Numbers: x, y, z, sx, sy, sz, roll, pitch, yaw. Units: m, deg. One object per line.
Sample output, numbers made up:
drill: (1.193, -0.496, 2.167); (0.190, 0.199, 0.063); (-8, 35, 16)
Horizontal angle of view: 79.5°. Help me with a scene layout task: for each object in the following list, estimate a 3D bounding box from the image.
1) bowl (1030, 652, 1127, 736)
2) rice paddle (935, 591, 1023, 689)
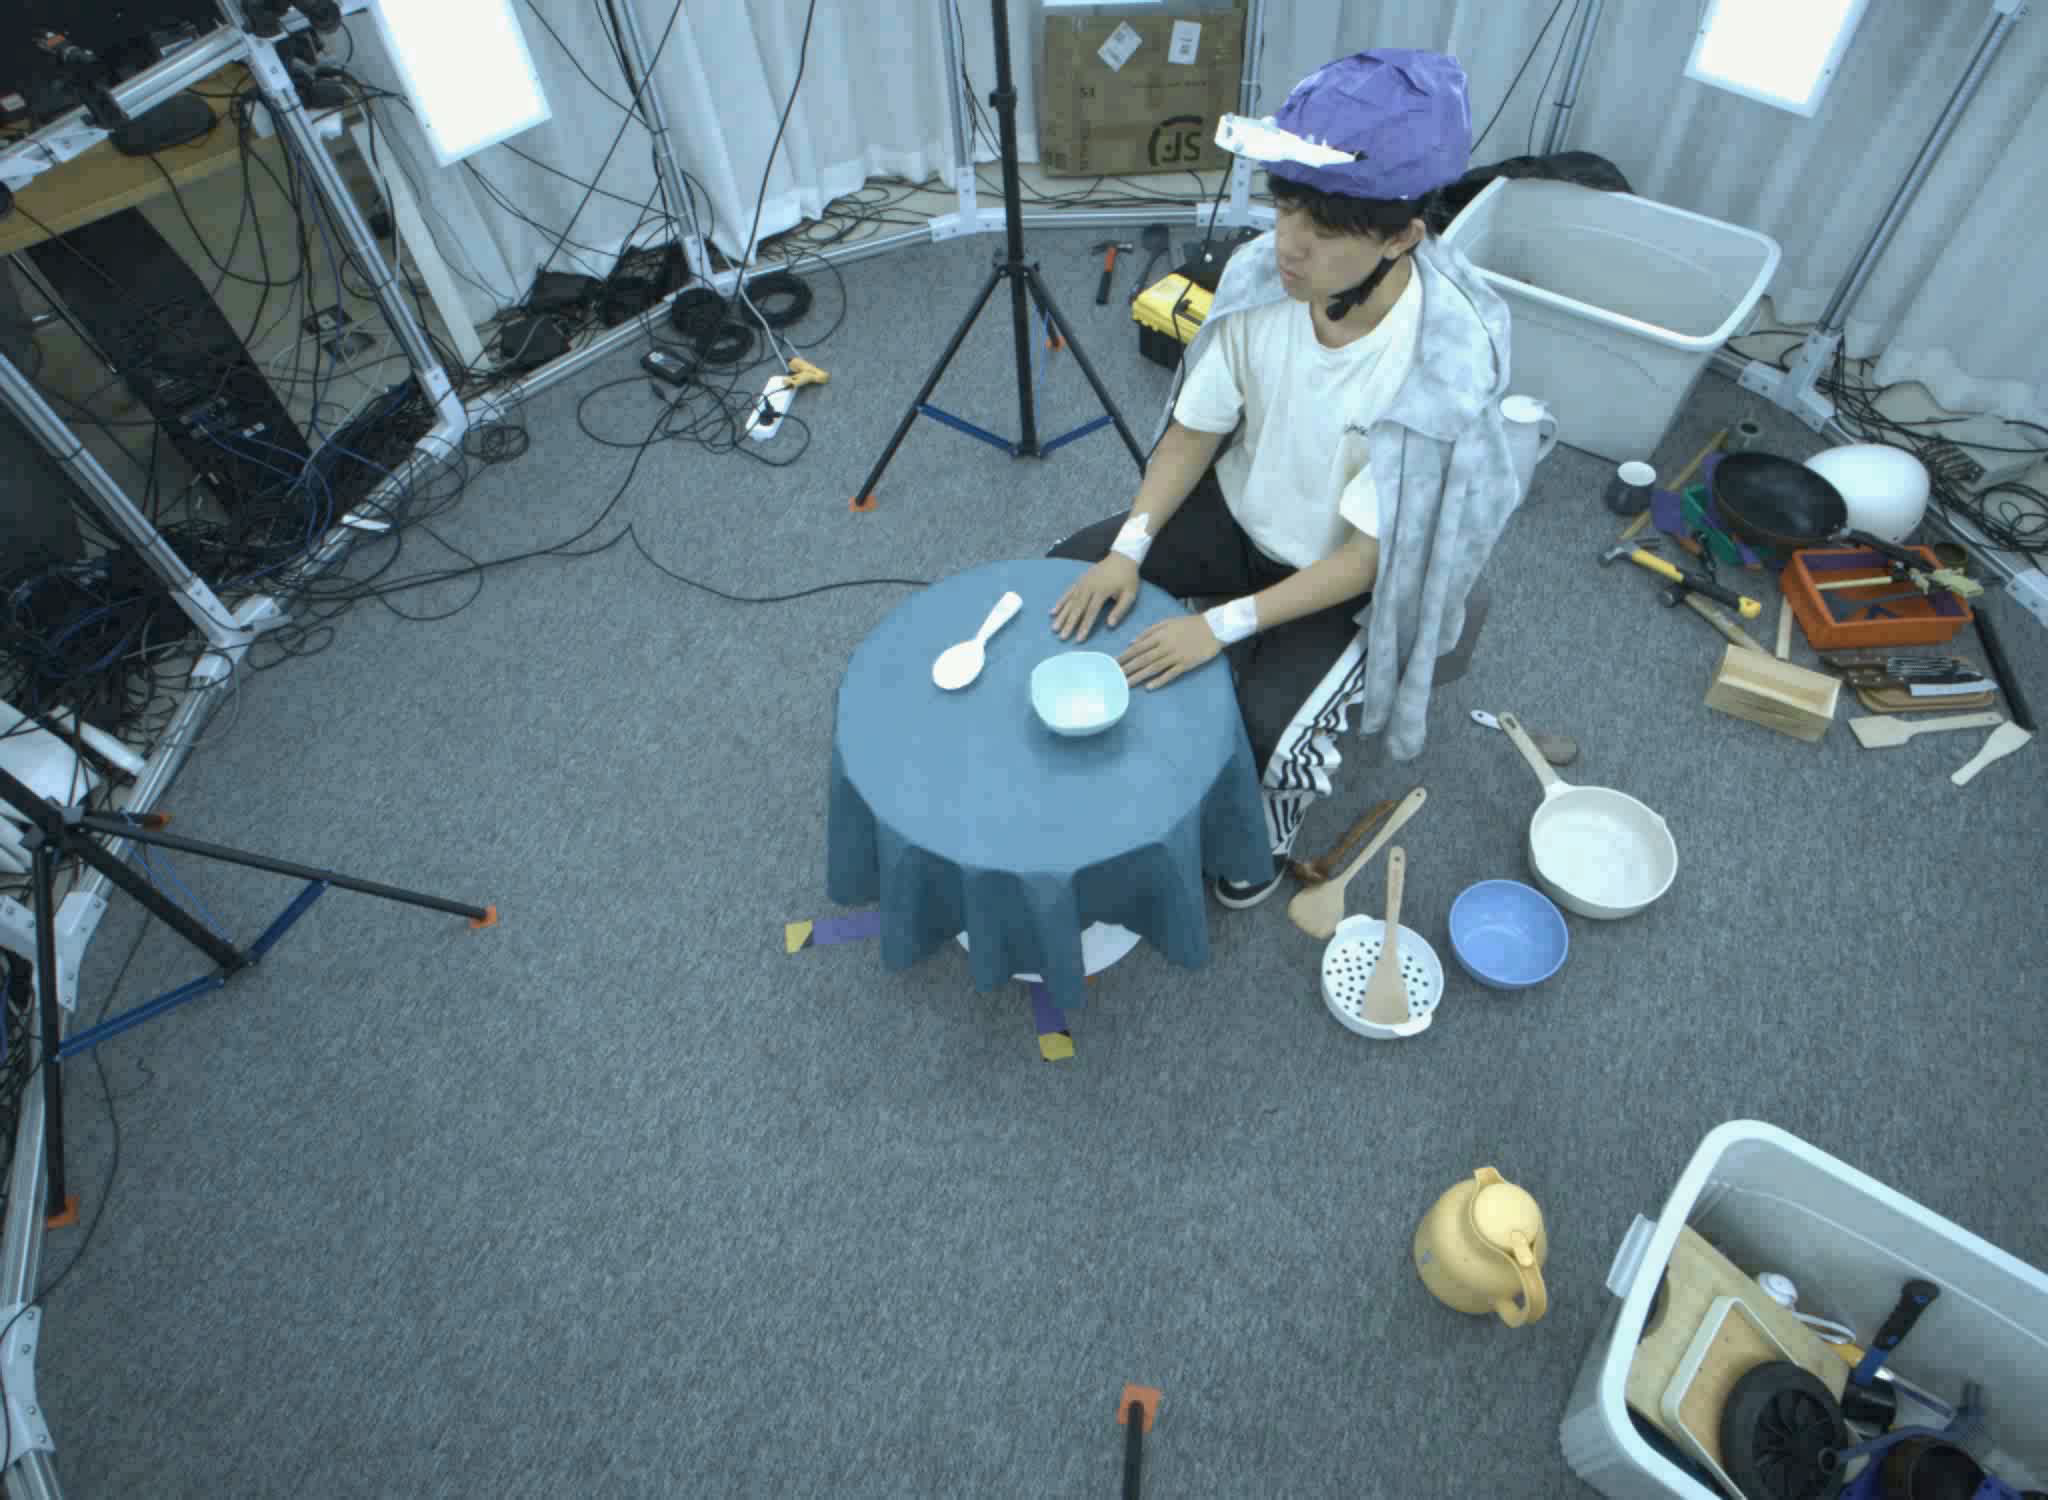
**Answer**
bowl: (0.081, -0.072, 1.800); (0.151, 0.059, 0.150); (-2, 53, 5)
rice paddle: (-0.067, -0.169, 1.892); (0.068, 0.030, 0.206); (24, 59, 20)
